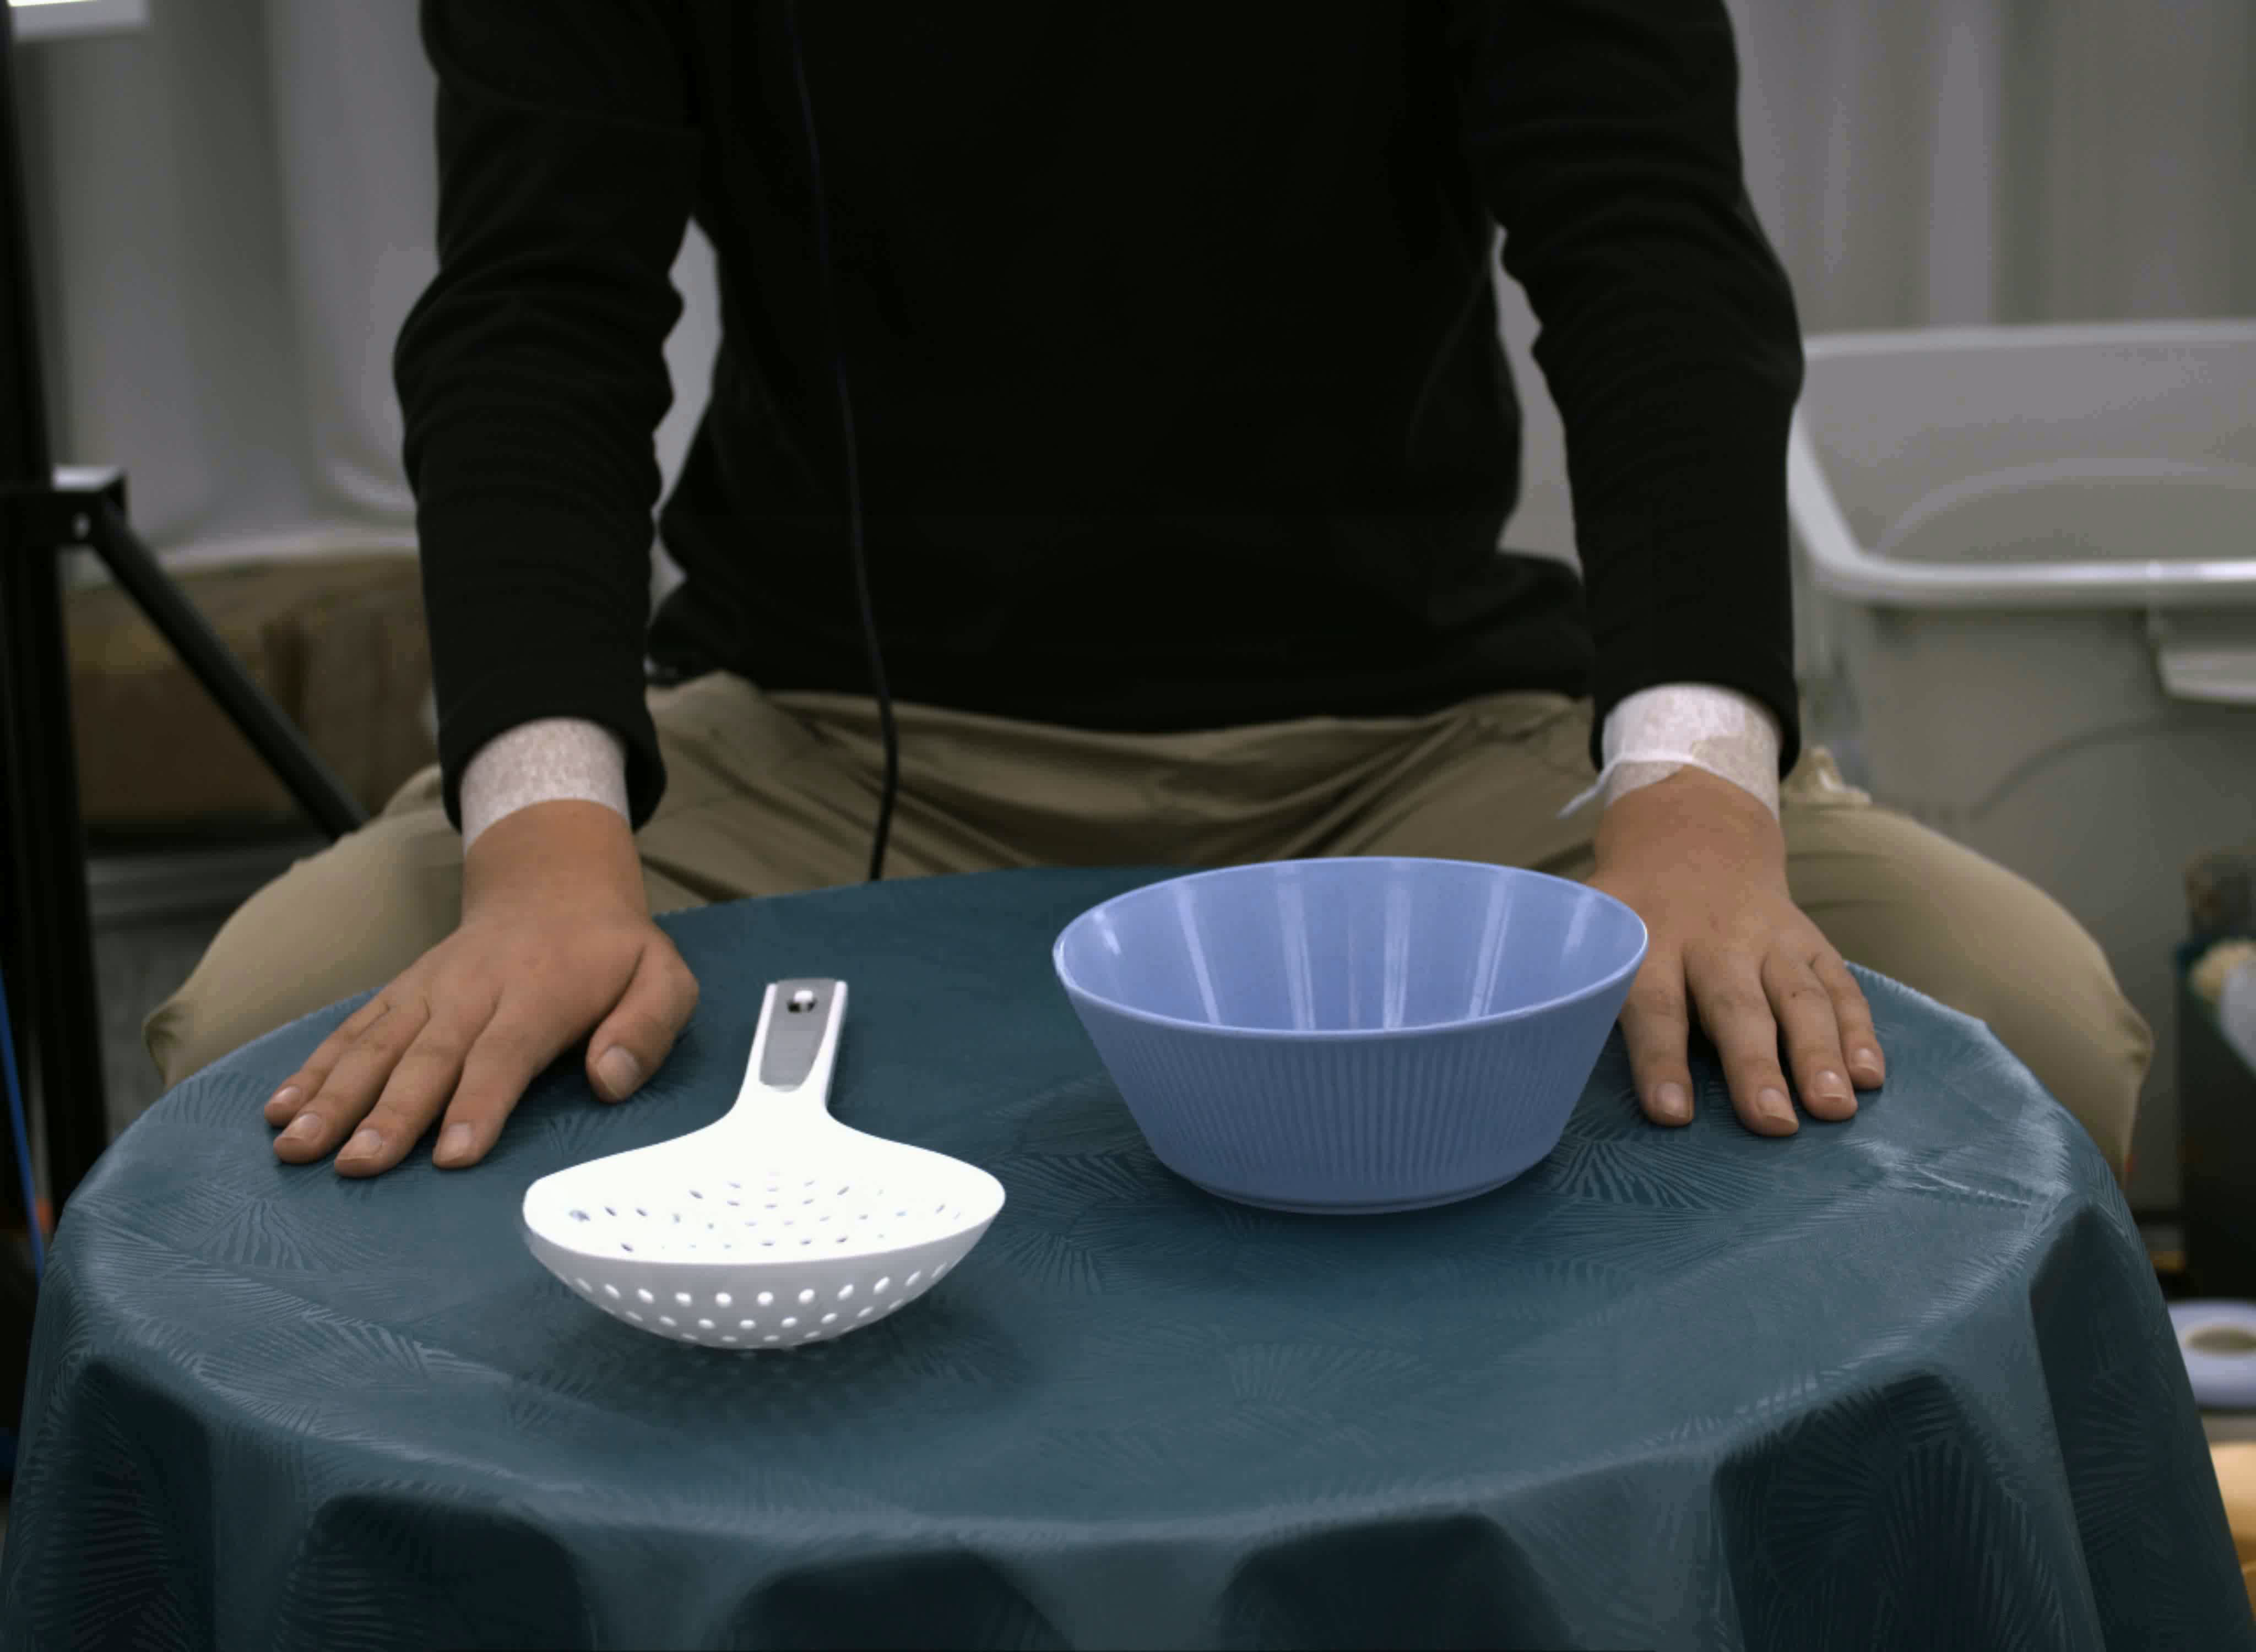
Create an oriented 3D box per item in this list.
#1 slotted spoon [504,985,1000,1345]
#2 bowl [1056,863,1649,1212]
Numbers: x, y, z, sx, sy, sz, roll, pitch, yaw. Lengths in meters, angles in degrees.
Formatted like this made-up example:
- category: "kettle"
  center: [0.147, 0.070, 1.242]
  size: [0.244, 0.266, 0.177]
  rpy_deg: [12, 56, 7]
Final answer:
- category: "slotted spoon"
  center: [-0.104, 0.089, 1.557]
  size: [0.135, 0.046, 0.351]
  rpy_deg: [-3, 15, 0]
- category: "bowl"
  center: [0.067, 0.065, 1.571]
  size: [0.175, 0.070, 0.177]
  rpy_deg: [-3, 14, -1]
